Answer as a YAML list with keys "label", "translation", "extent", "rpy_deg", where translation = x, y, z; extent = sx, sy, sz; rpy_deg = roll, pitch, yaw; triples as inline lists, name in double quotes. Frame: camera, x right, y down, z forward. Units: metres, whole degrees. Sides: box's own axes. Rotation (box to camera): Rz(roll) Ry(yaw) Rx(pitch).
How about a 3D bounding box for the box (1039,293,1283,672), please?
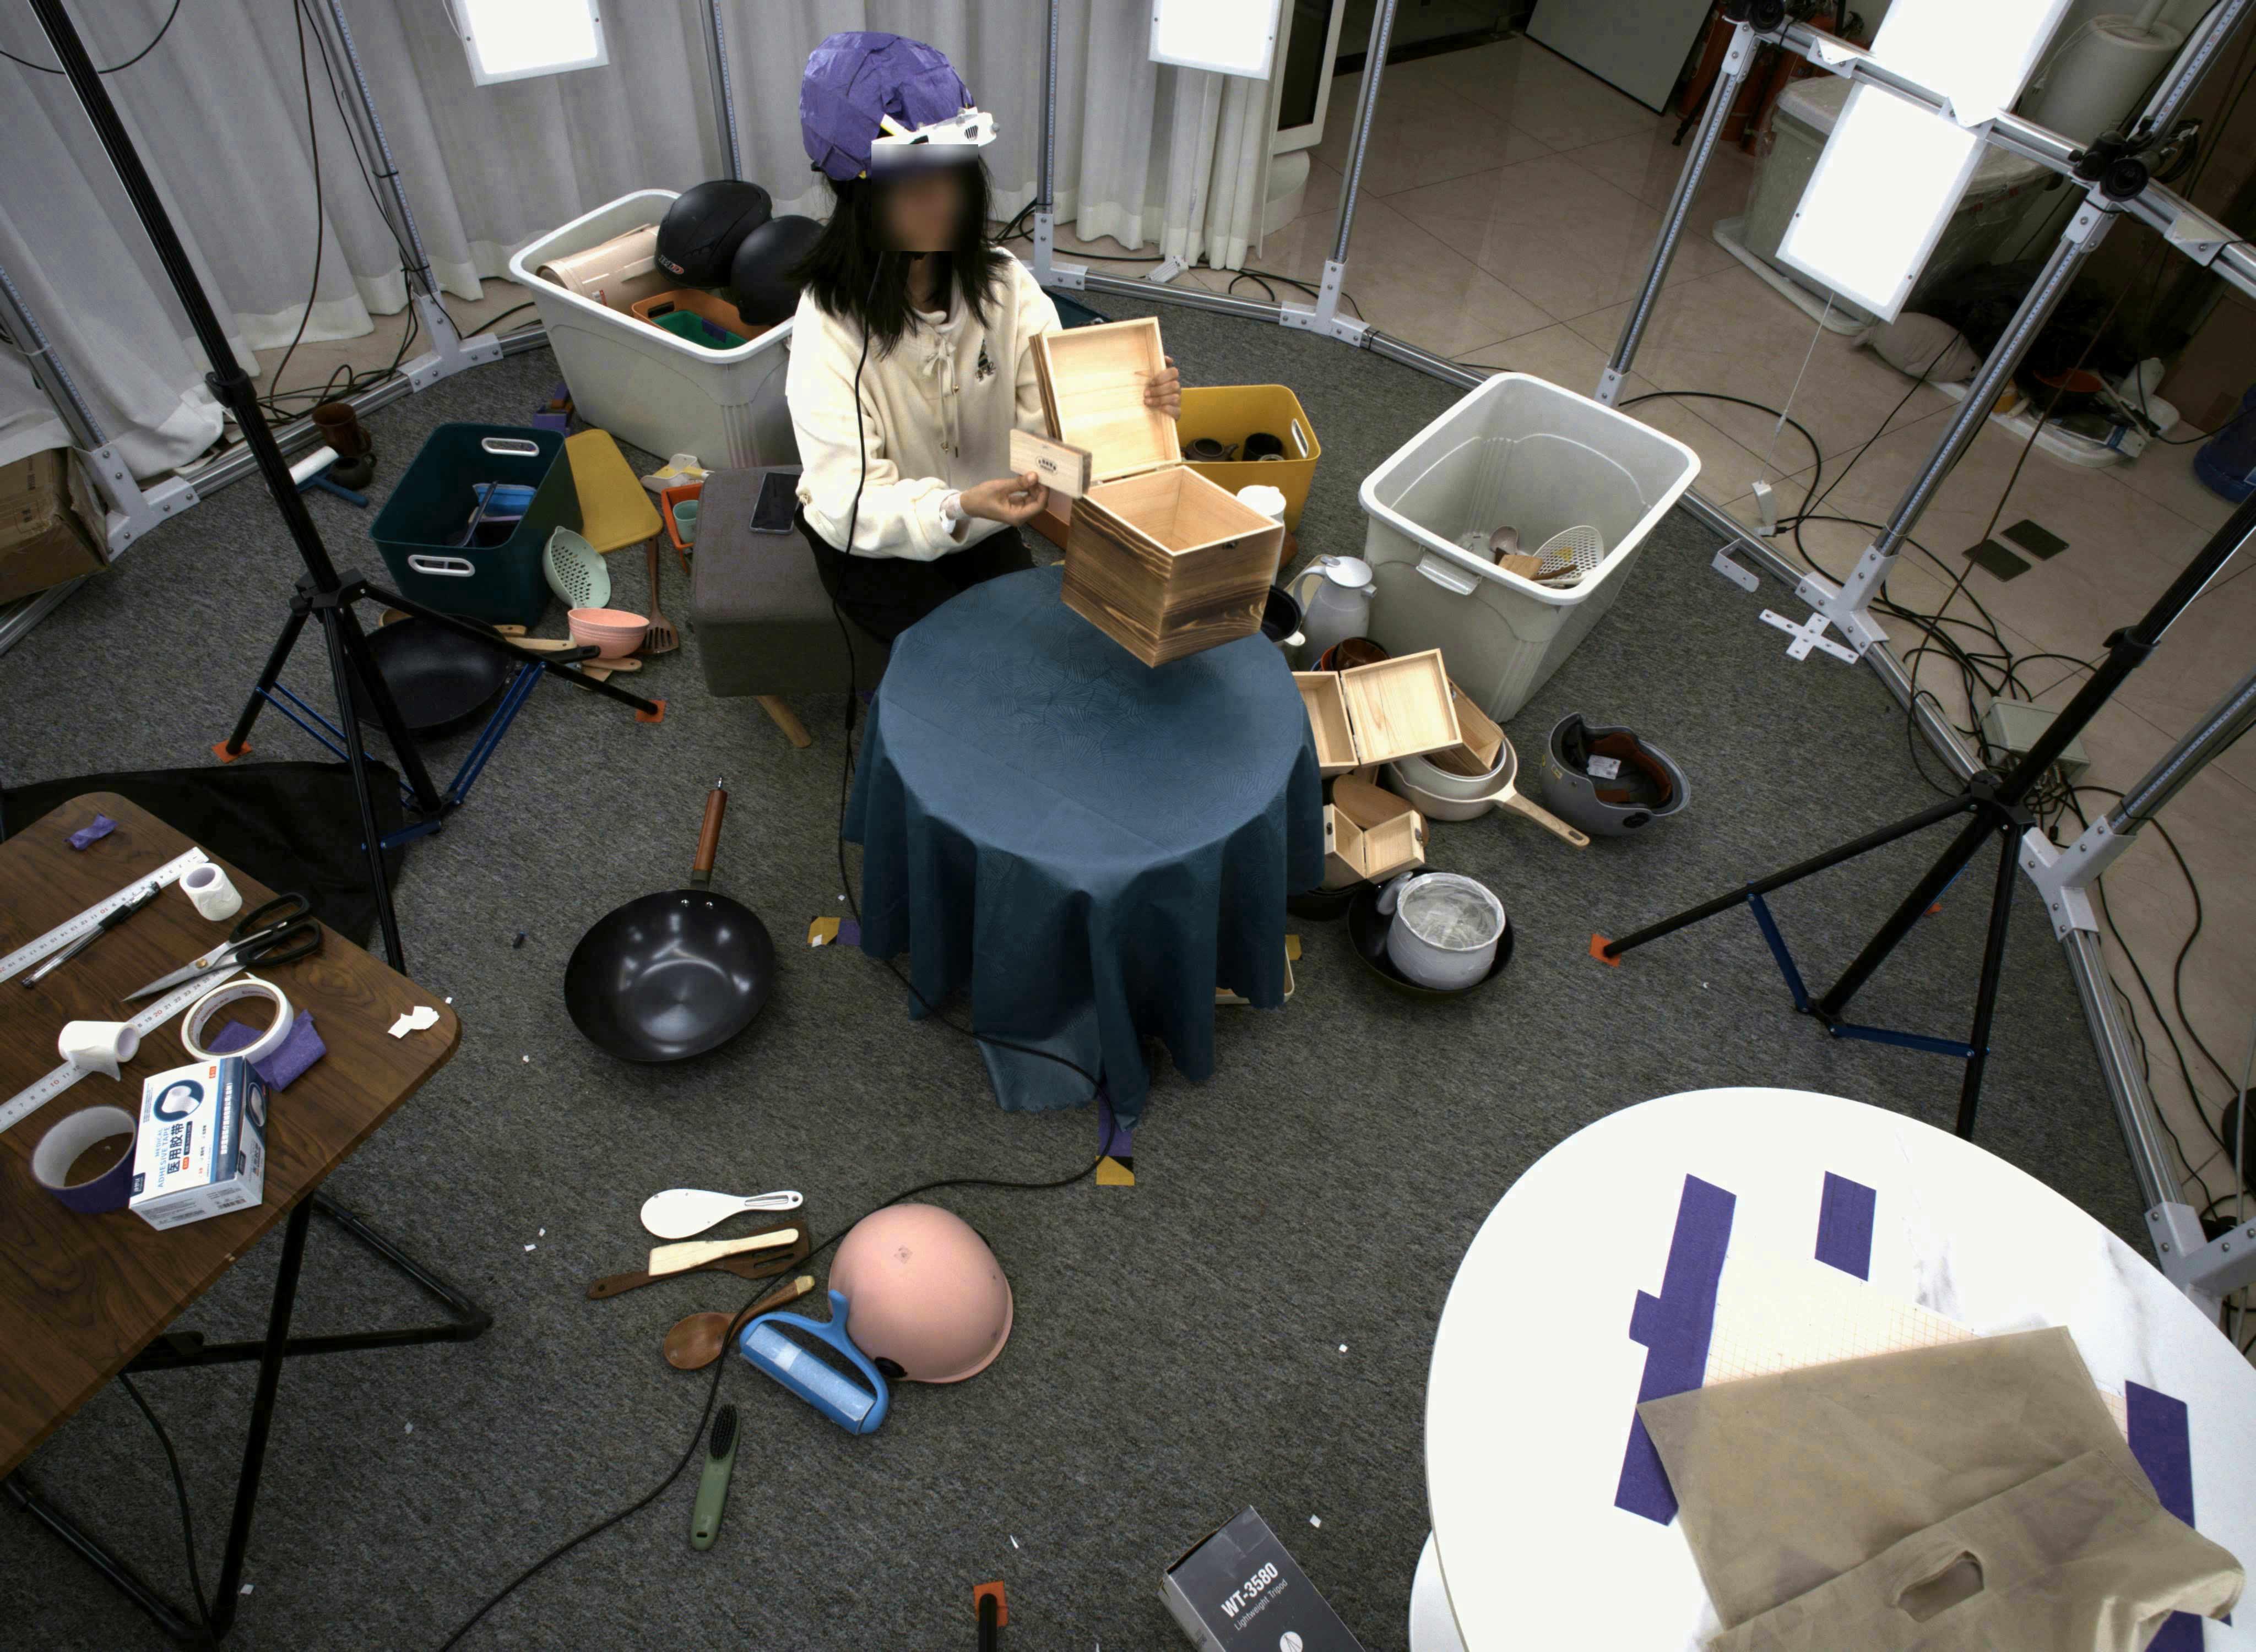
- label: "box"
  translation: [0.036, -0.459, 1.729]
  extent: [0.210, 0.367, 0.328]
  rpy_deg: [-23, 50, -35]

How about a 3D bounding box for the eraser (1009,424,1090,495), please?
- label: "eraser"
  translation: [-0.103, -0.486, 1.706]
  extent: [0.029, 0.056, 0.141]
  rpy_deg: [-23, 40, -35]
